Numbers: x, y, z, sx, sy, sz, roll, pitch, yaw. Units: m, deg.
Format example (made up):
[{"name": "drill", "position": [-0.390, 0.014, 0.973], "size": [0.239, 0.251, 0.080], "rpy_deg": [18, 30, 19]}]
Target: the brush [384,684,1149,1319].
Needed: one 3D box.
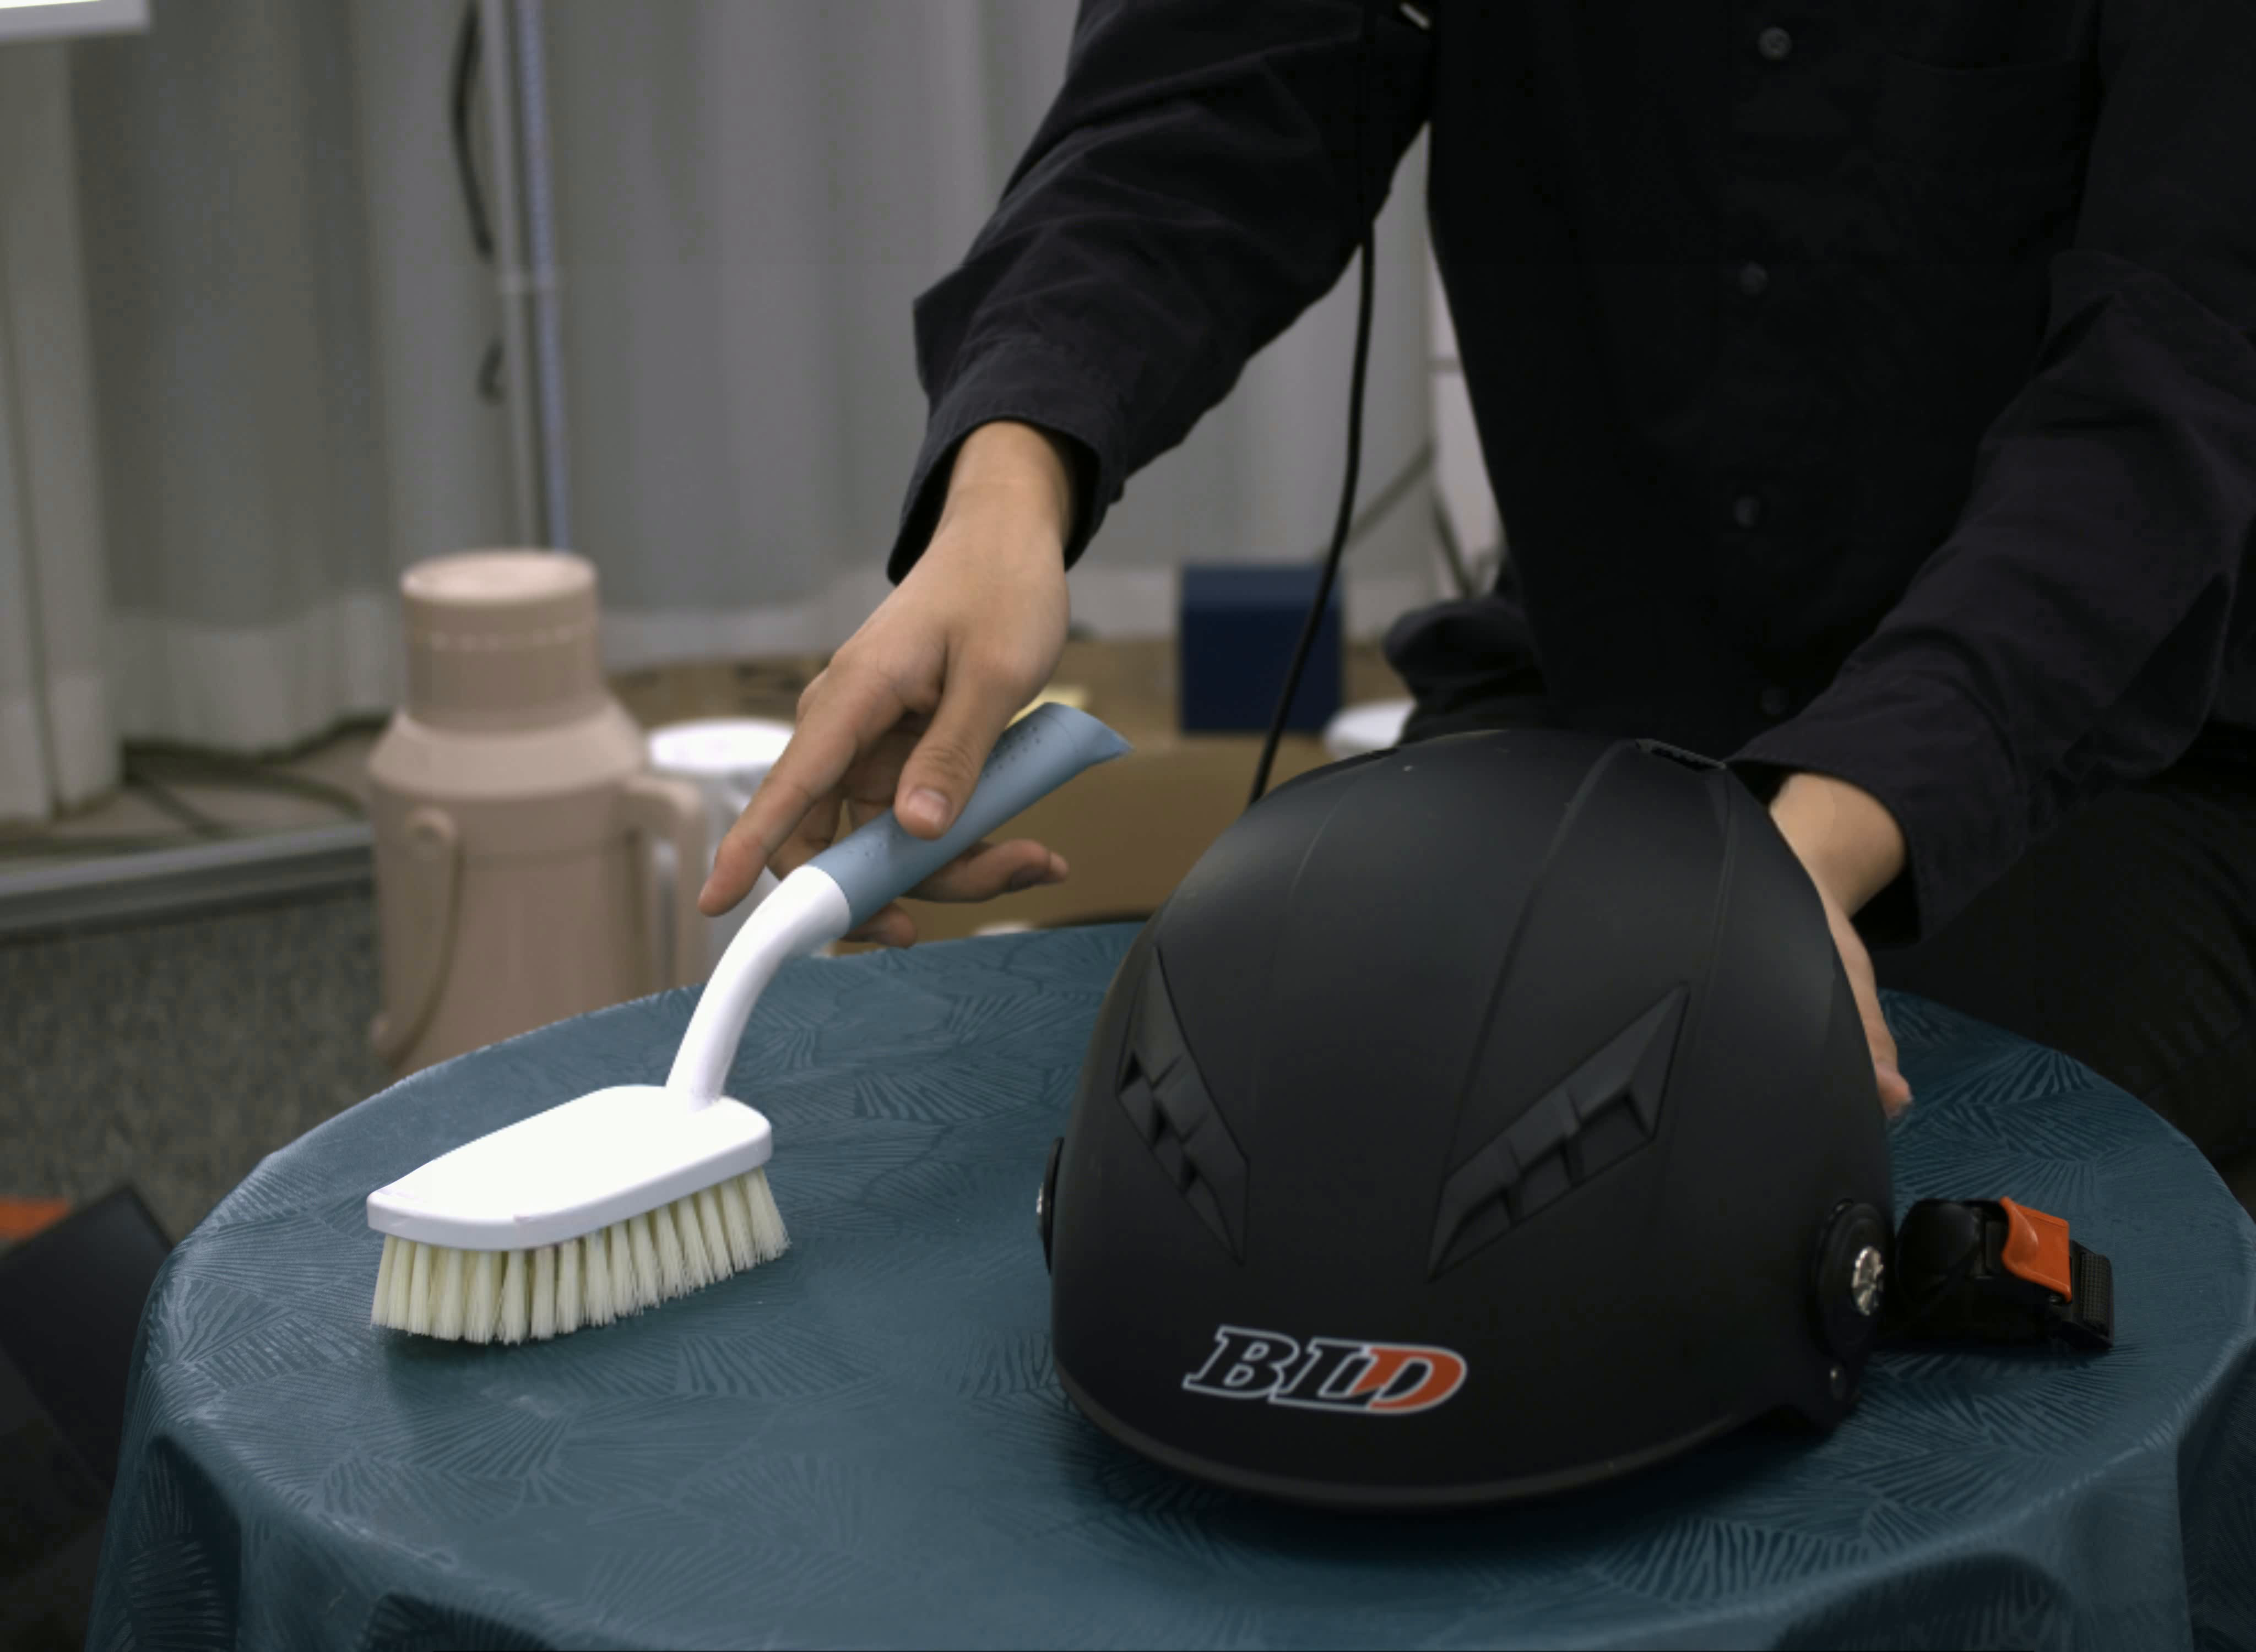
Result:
[{"name": "brush", "position": [-0.092, 0.066, 1.572], "size": [0.084, 0.085, 0.320], "rpy_deg": [42, 49, 16]}]

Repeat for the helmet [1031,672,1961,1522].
[{"name": "helmet", "position": [0.095, 0.061, 1.405], "size": [0.250, 0.172, 0.274], "rpy_deg": [3, 23, 22]}]
